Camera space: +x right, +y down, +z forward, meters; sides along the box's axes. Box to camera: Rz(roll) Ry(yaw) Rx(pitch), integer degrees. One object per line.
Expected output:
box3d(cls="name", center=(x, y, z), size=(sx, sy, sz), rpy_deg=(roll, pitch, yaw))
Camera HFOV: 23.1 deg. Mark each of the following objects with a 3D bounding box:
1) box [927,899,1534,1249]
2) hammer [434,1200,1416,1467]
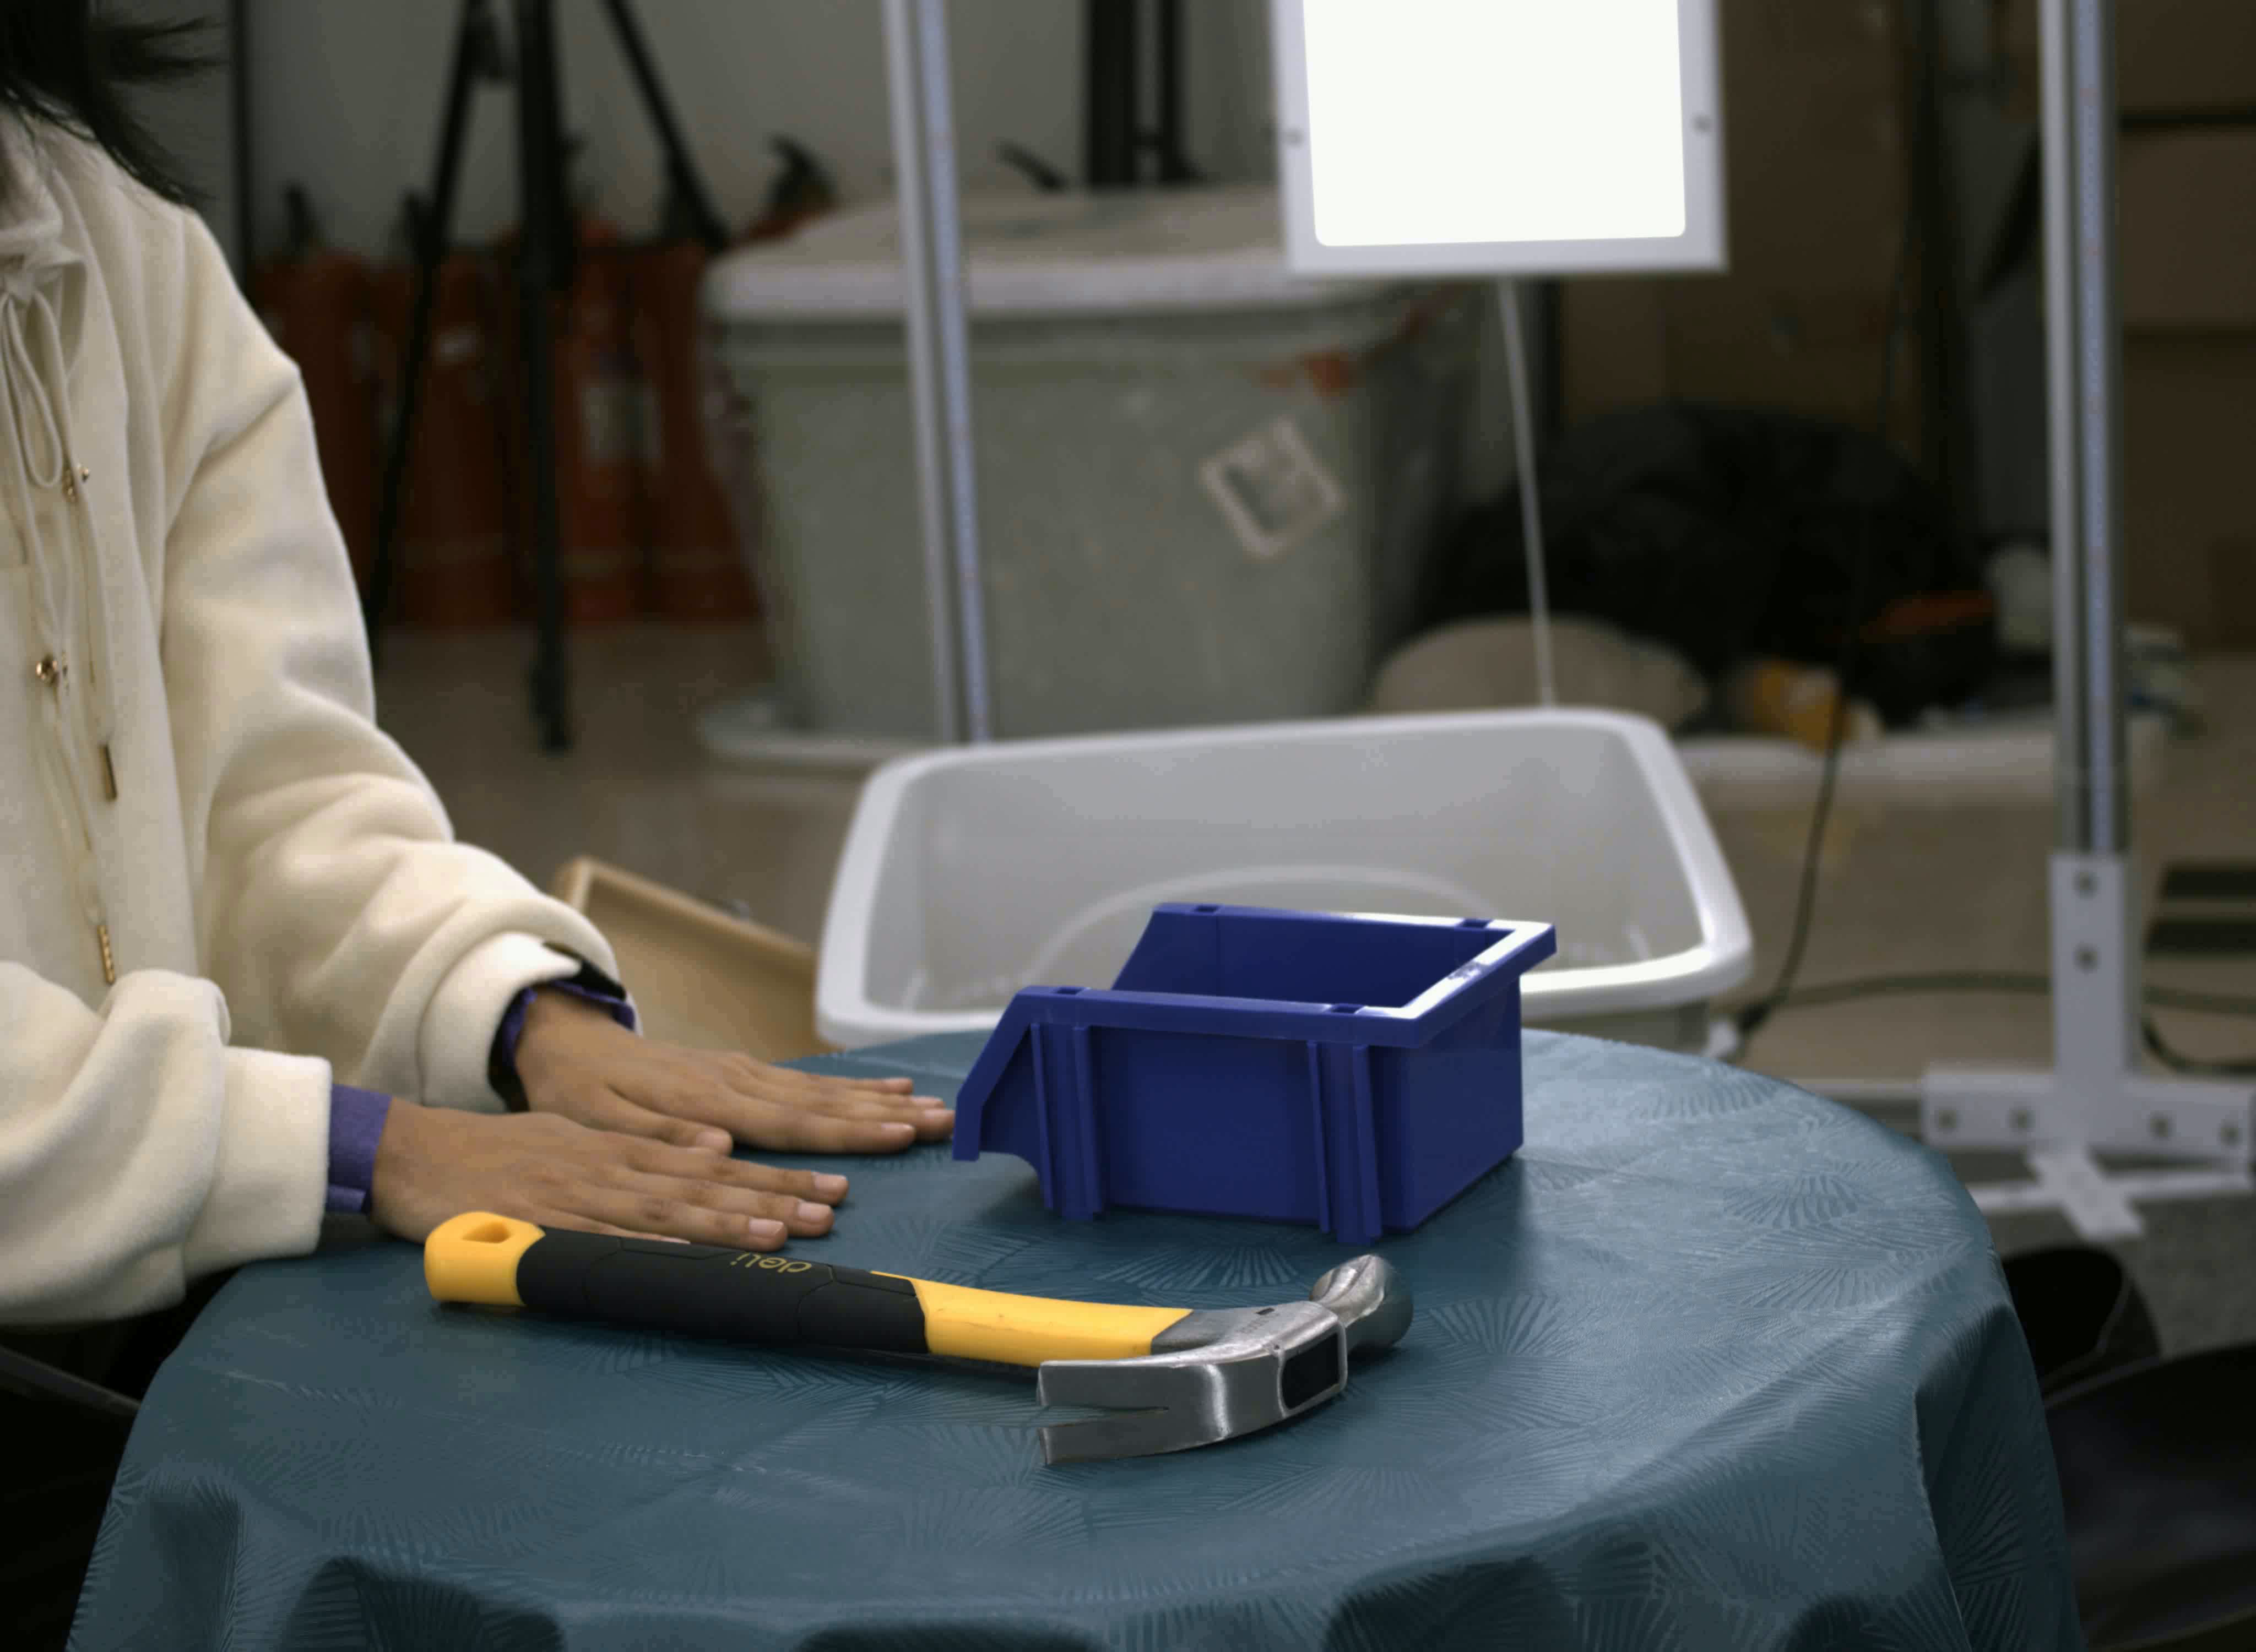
box3d(cls="box", center=(0.035, 0.083, 1.895), size=(0.182, 0.082, 0.122), rpy_deg=(5, 17, 29))
box3d(cls="hammer", center=(-0.084, 0.151, 1.757), size=(0.345, 0.032, 0.128), rpy_deg=(5, 18, 35))
